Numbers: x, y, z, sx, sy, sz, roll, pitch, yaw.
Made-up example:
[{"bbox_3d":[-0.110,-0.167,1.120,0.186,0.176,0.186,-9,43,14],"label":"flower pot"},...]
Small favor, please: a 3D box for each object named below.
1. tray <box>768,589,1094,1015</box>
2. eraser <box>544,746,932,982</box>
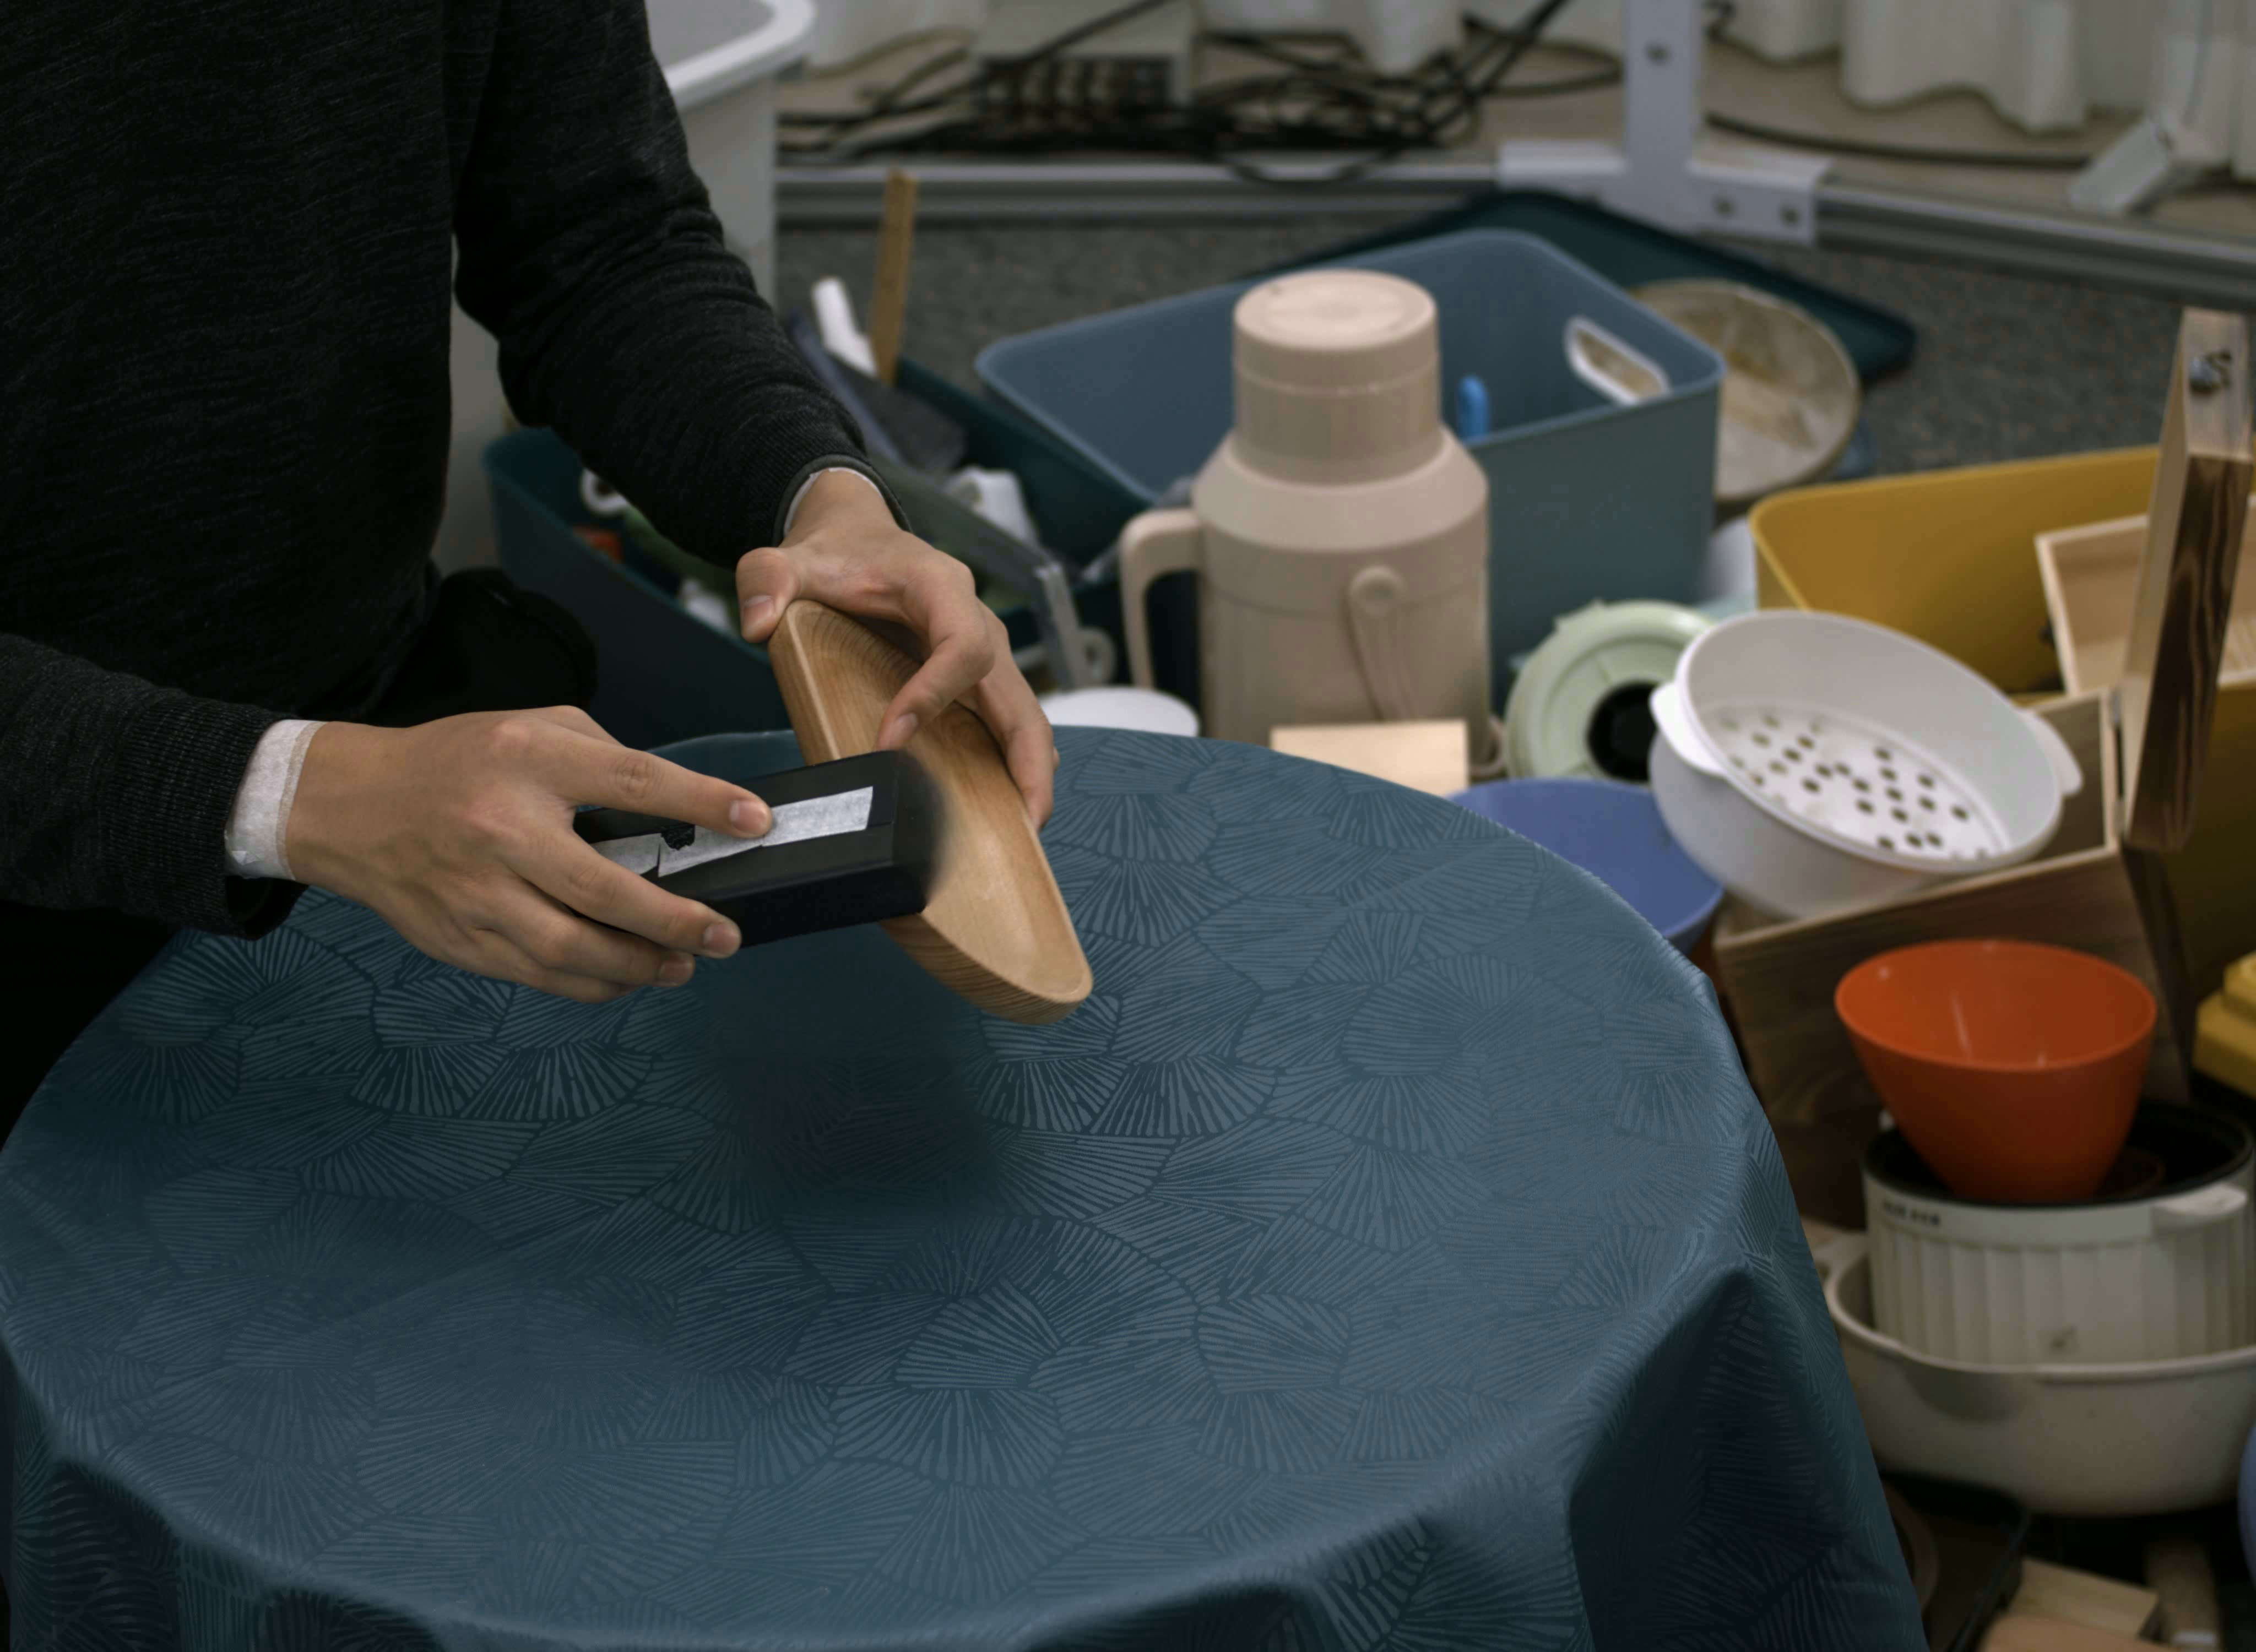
[{"bbox_3d":[-0.069,-0.009,1.903,0.101,0.020,0.234,35,15,-30],"label":"tray"},{"bbox_3d":[-0.124,0.012,1.804,0.124,0.030,0.054,-13,45,16],"label":"eraser"}]
